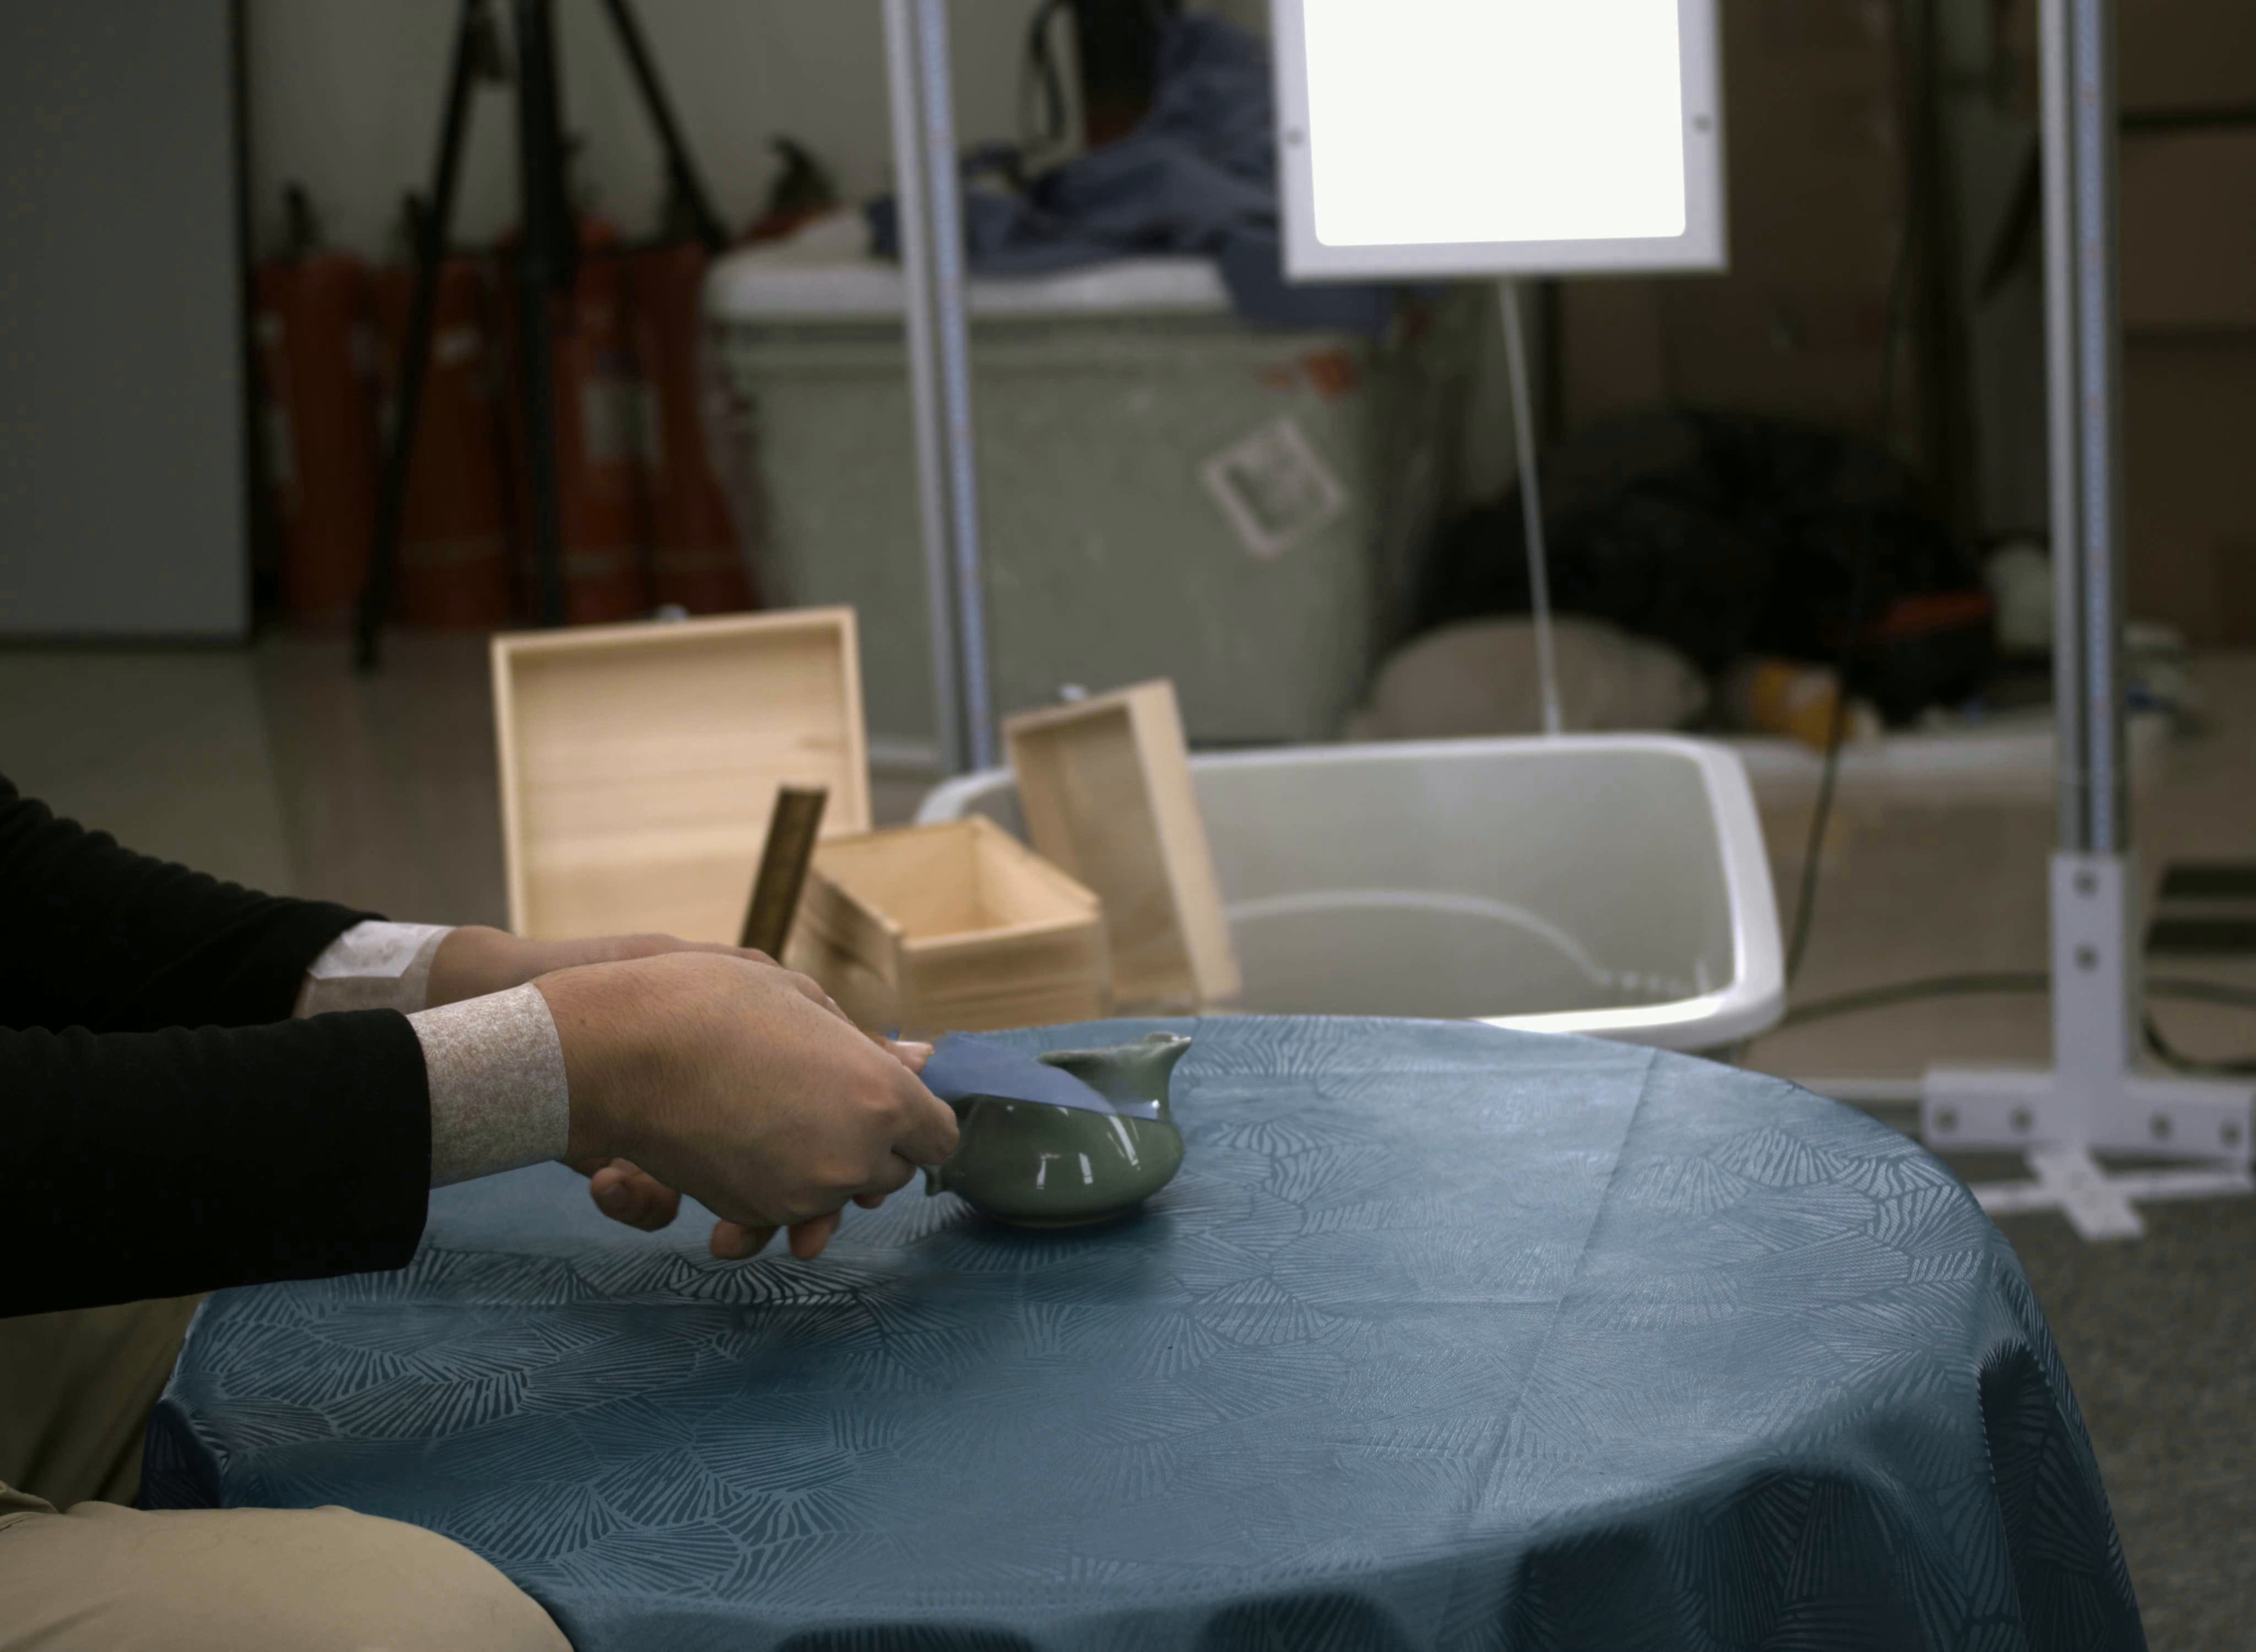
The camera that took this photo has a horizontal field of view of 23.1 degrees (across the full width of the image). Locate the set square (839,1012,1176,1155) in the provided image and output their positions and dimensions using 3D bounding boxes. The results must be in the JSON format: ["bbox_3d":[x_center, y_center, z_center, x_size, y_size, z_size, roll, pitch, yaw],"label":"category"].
[{"bbox_3d":[-0.048,0.088,1.812,0.134,0.006,0.059,23,26,37],"label":"set square"}]

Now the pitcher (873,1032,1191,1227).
[{"bbox_3d":[-0.031,0.104,1.884,0.111,0.056,0.085,-7,12,-9],"label":"pitcher"}]
